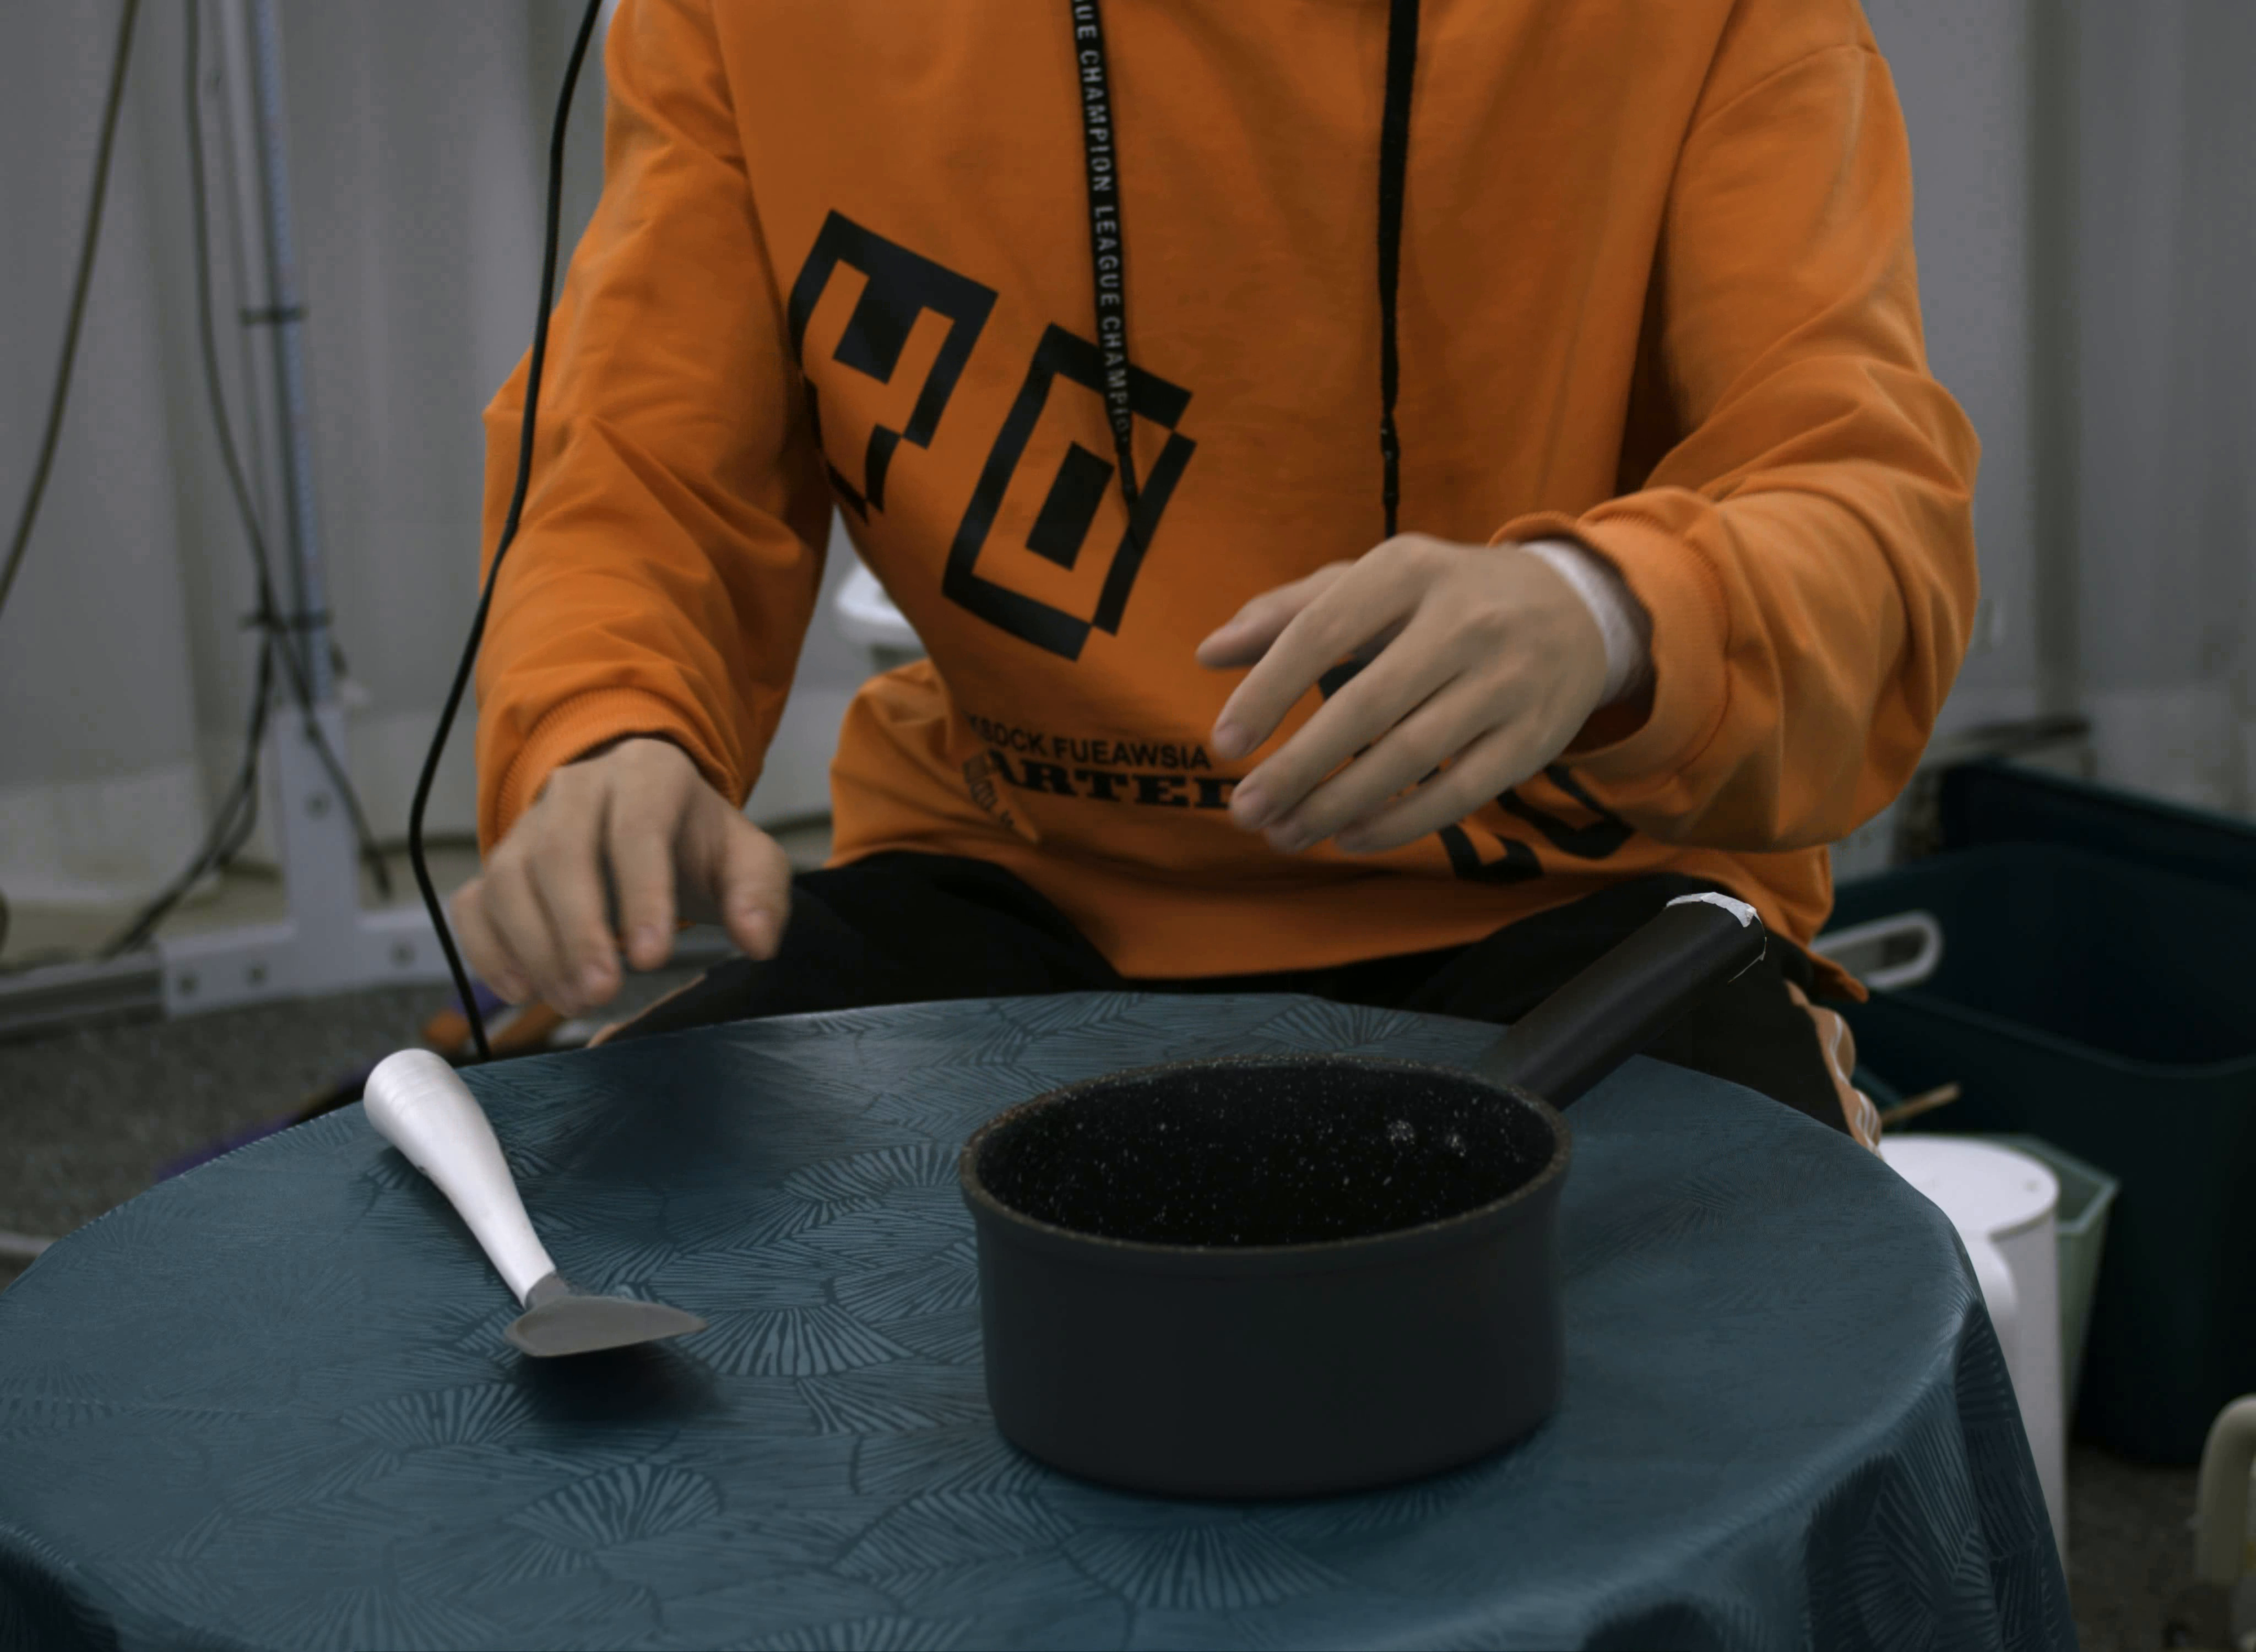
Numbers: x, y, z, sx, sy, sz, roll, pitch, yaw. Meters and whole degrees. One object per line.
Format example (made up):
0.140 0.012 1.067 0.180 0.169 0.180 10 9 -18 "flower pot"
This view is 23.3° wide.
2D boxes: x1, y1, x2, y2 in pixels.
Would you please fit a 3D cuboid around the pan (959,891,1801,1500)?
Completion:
0.091 0.102 1.580 0.173 0.086 0.328 10 22 39 "pan"

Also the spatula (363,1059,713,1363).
-0.187 0.123 1.662 0.058 0.032 0.290 -3 14 -19 "spatula"
